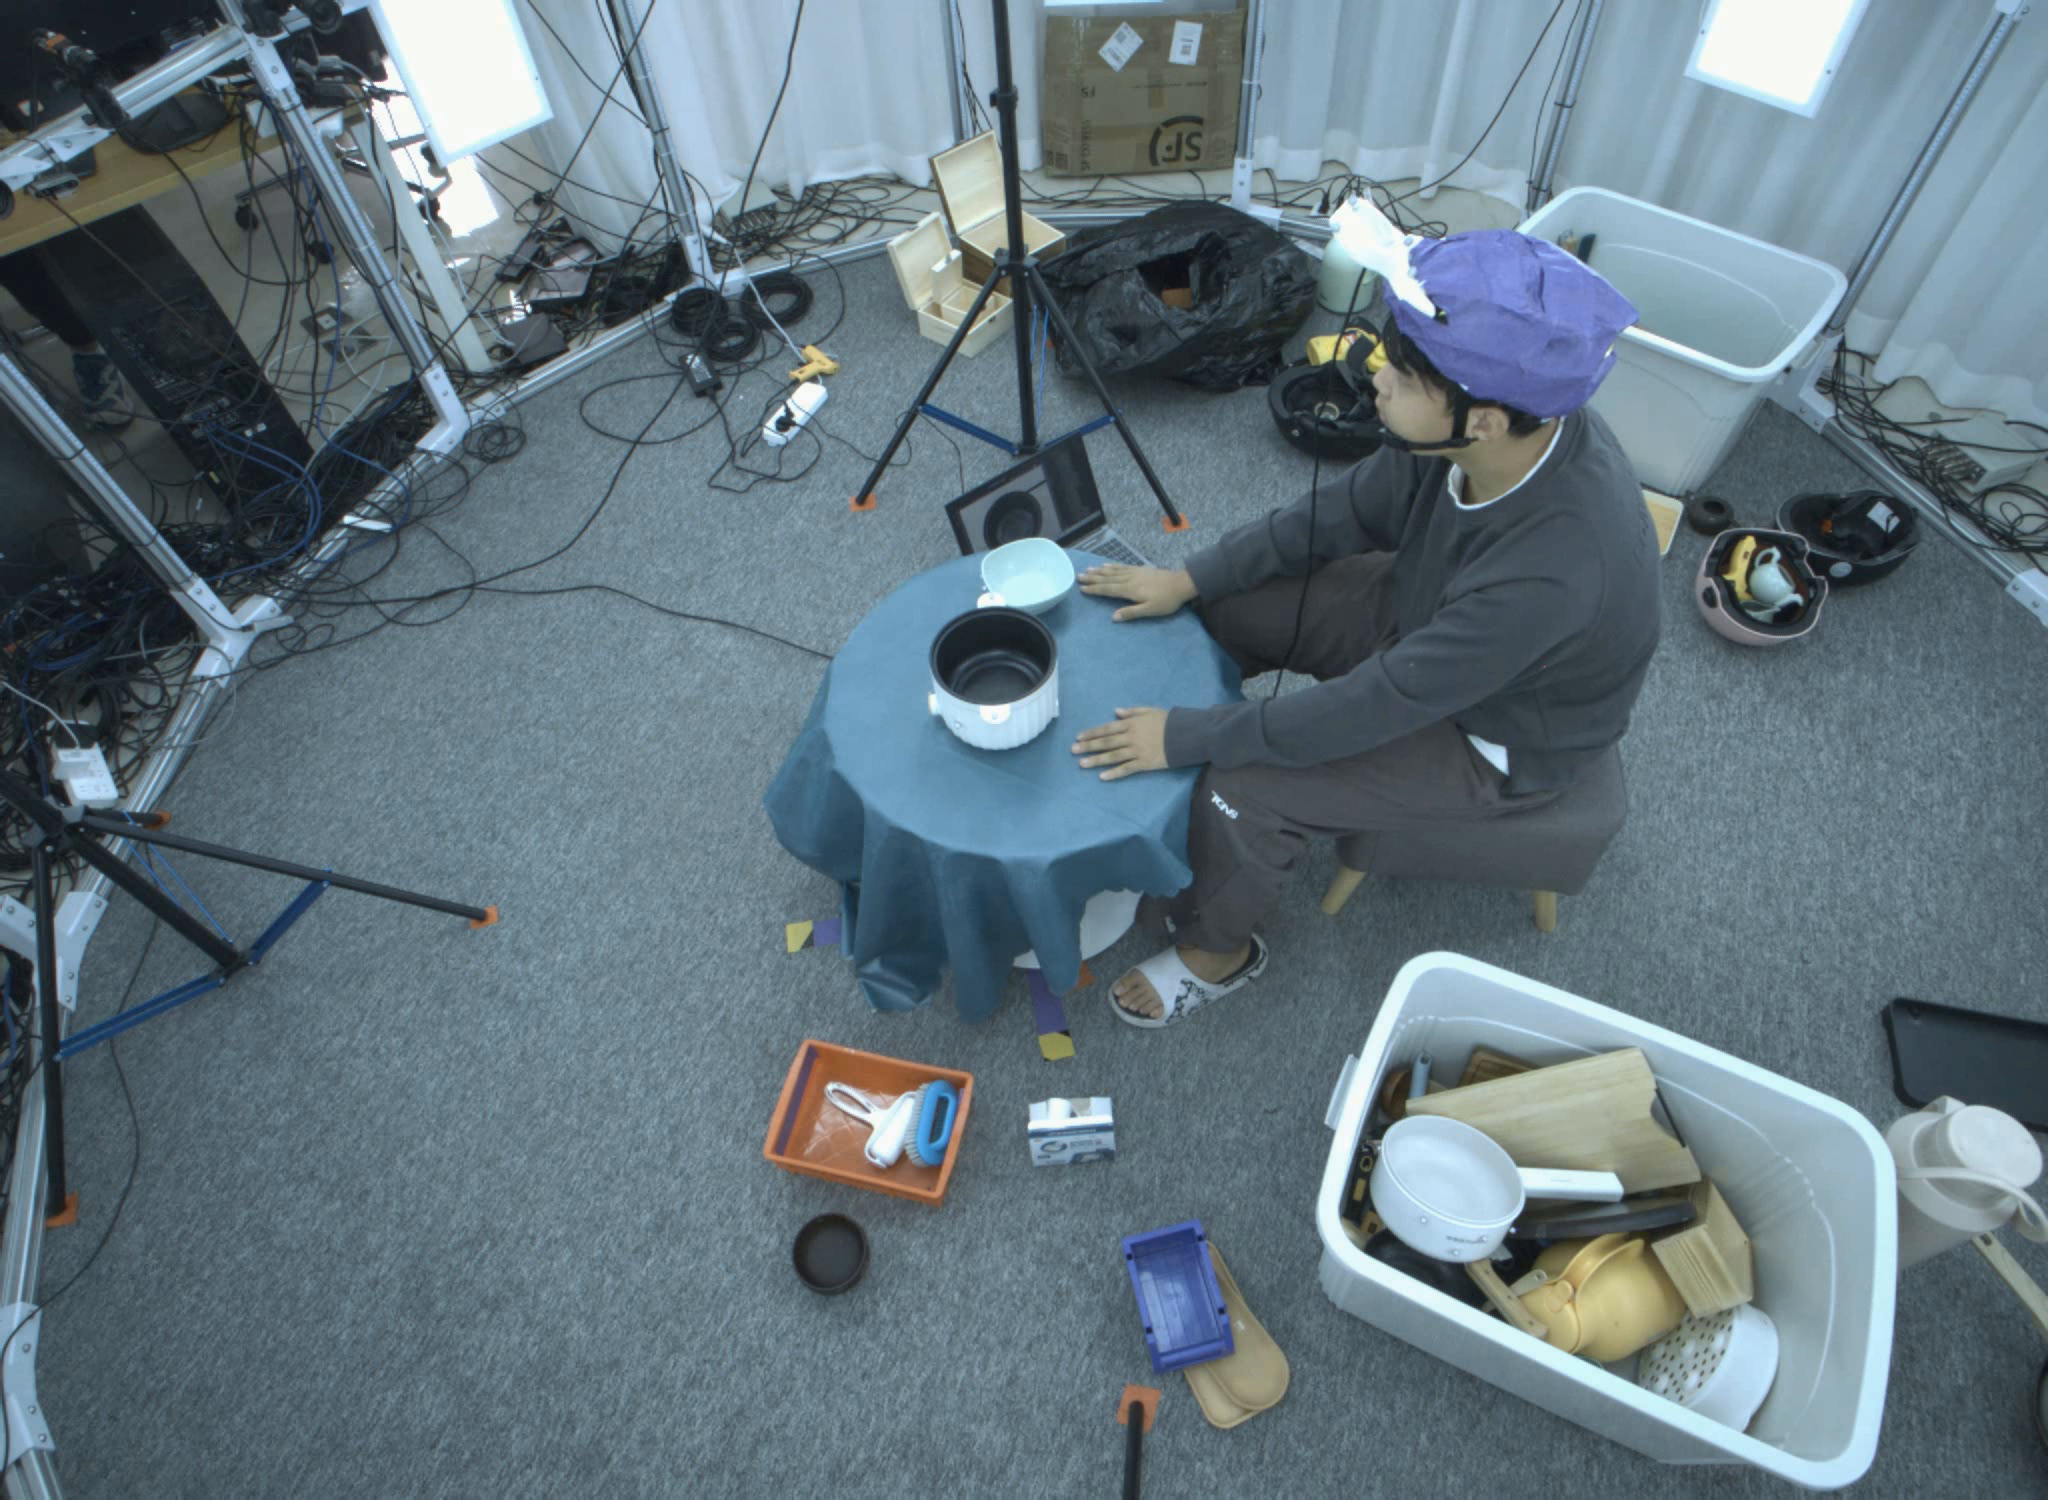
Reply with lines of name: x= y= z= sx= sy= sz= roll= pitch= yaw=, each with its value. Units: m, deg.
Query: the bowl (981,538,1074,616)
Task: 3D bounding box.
bowl: x=0.007 y=-0.263 z=1.939 sx=0.151 sy=0.059 sz=0.150 roll=-1 pitch=55 yaw=3

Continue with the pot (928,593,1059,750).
pot: x=-0.045 y=-0.095 z=1.769 sx=0.191 sy=0.144 sz=0.237 roll=-3 pitch=53 yaw=-4
